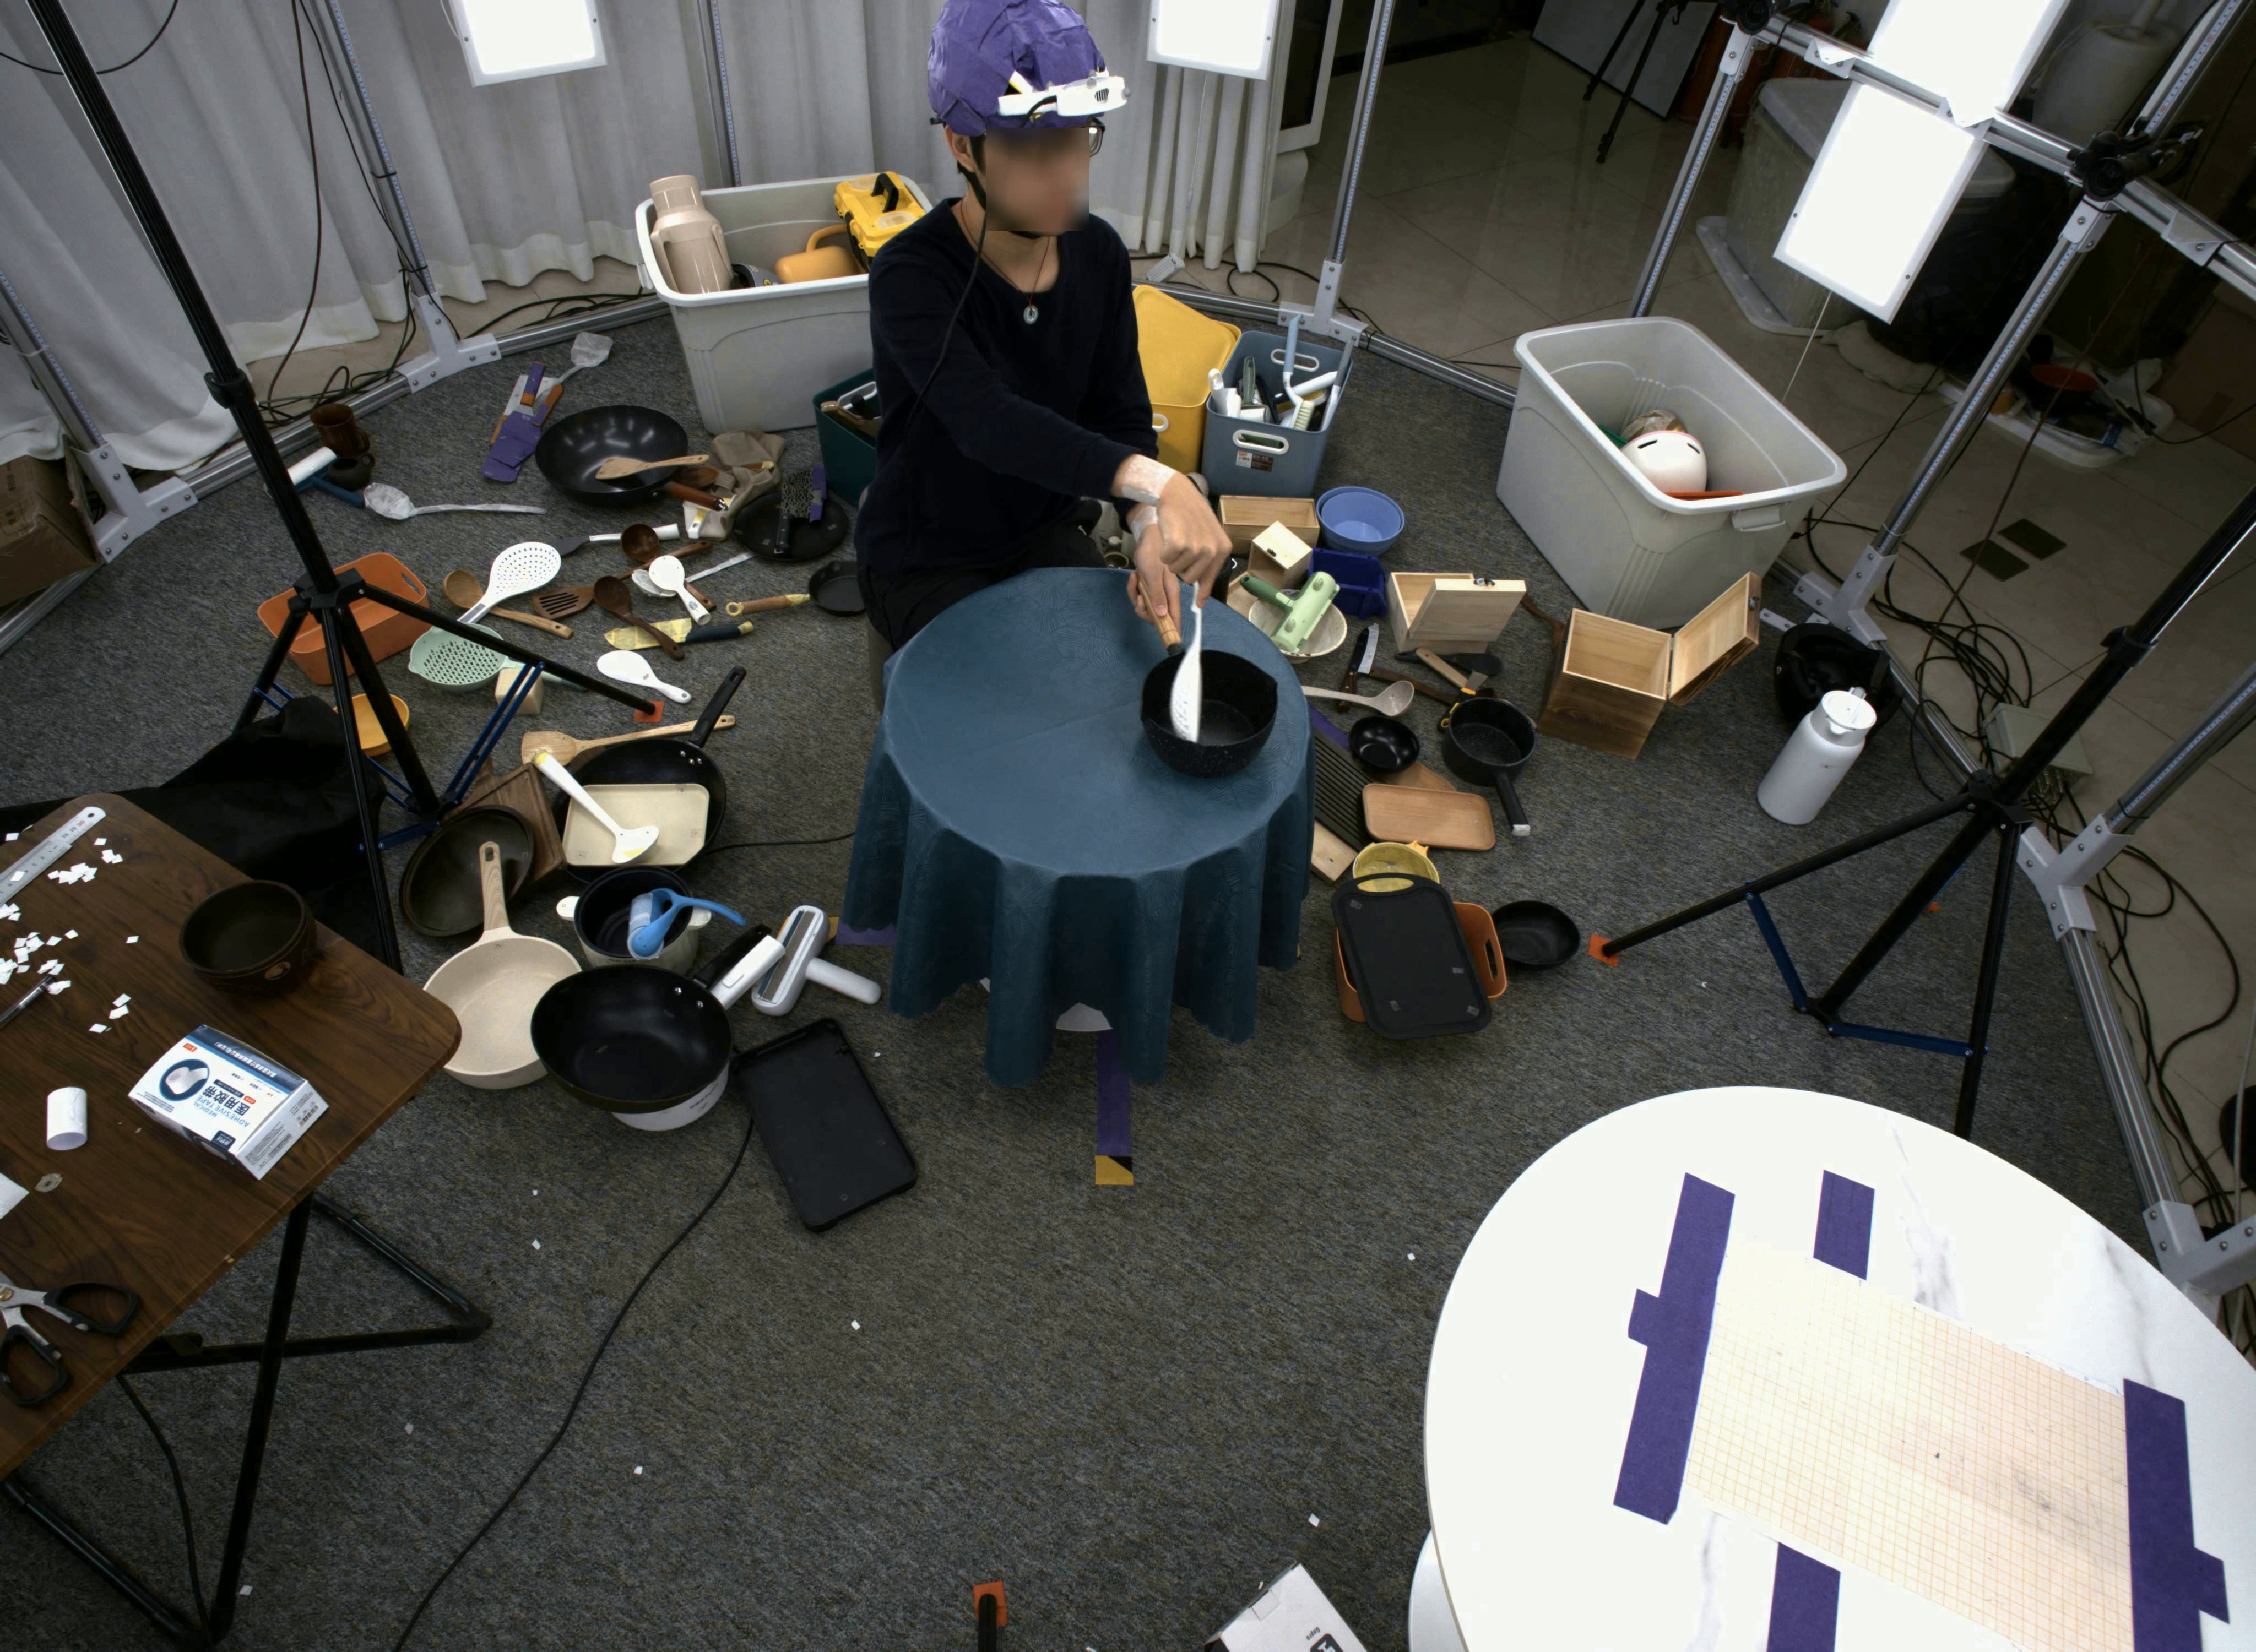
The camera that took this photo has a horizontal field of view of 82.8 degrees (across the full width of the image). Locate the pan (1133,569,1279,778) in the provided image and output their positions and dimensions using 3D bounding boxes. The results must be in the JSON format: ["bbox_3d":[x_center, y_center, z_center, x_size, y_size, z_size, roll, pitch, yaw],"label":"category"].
[{"bbox_3d":[0.077,-0.213,1.790,0.207,0.105,0.351,-16,53,-16],"label":"pan"}]

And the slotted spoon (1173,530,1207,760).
[{"bbox_3d":[0.082,-0.231,1.634,0.050,0.339,0.140,4,46,2],"label":"slotted spoon"}]
